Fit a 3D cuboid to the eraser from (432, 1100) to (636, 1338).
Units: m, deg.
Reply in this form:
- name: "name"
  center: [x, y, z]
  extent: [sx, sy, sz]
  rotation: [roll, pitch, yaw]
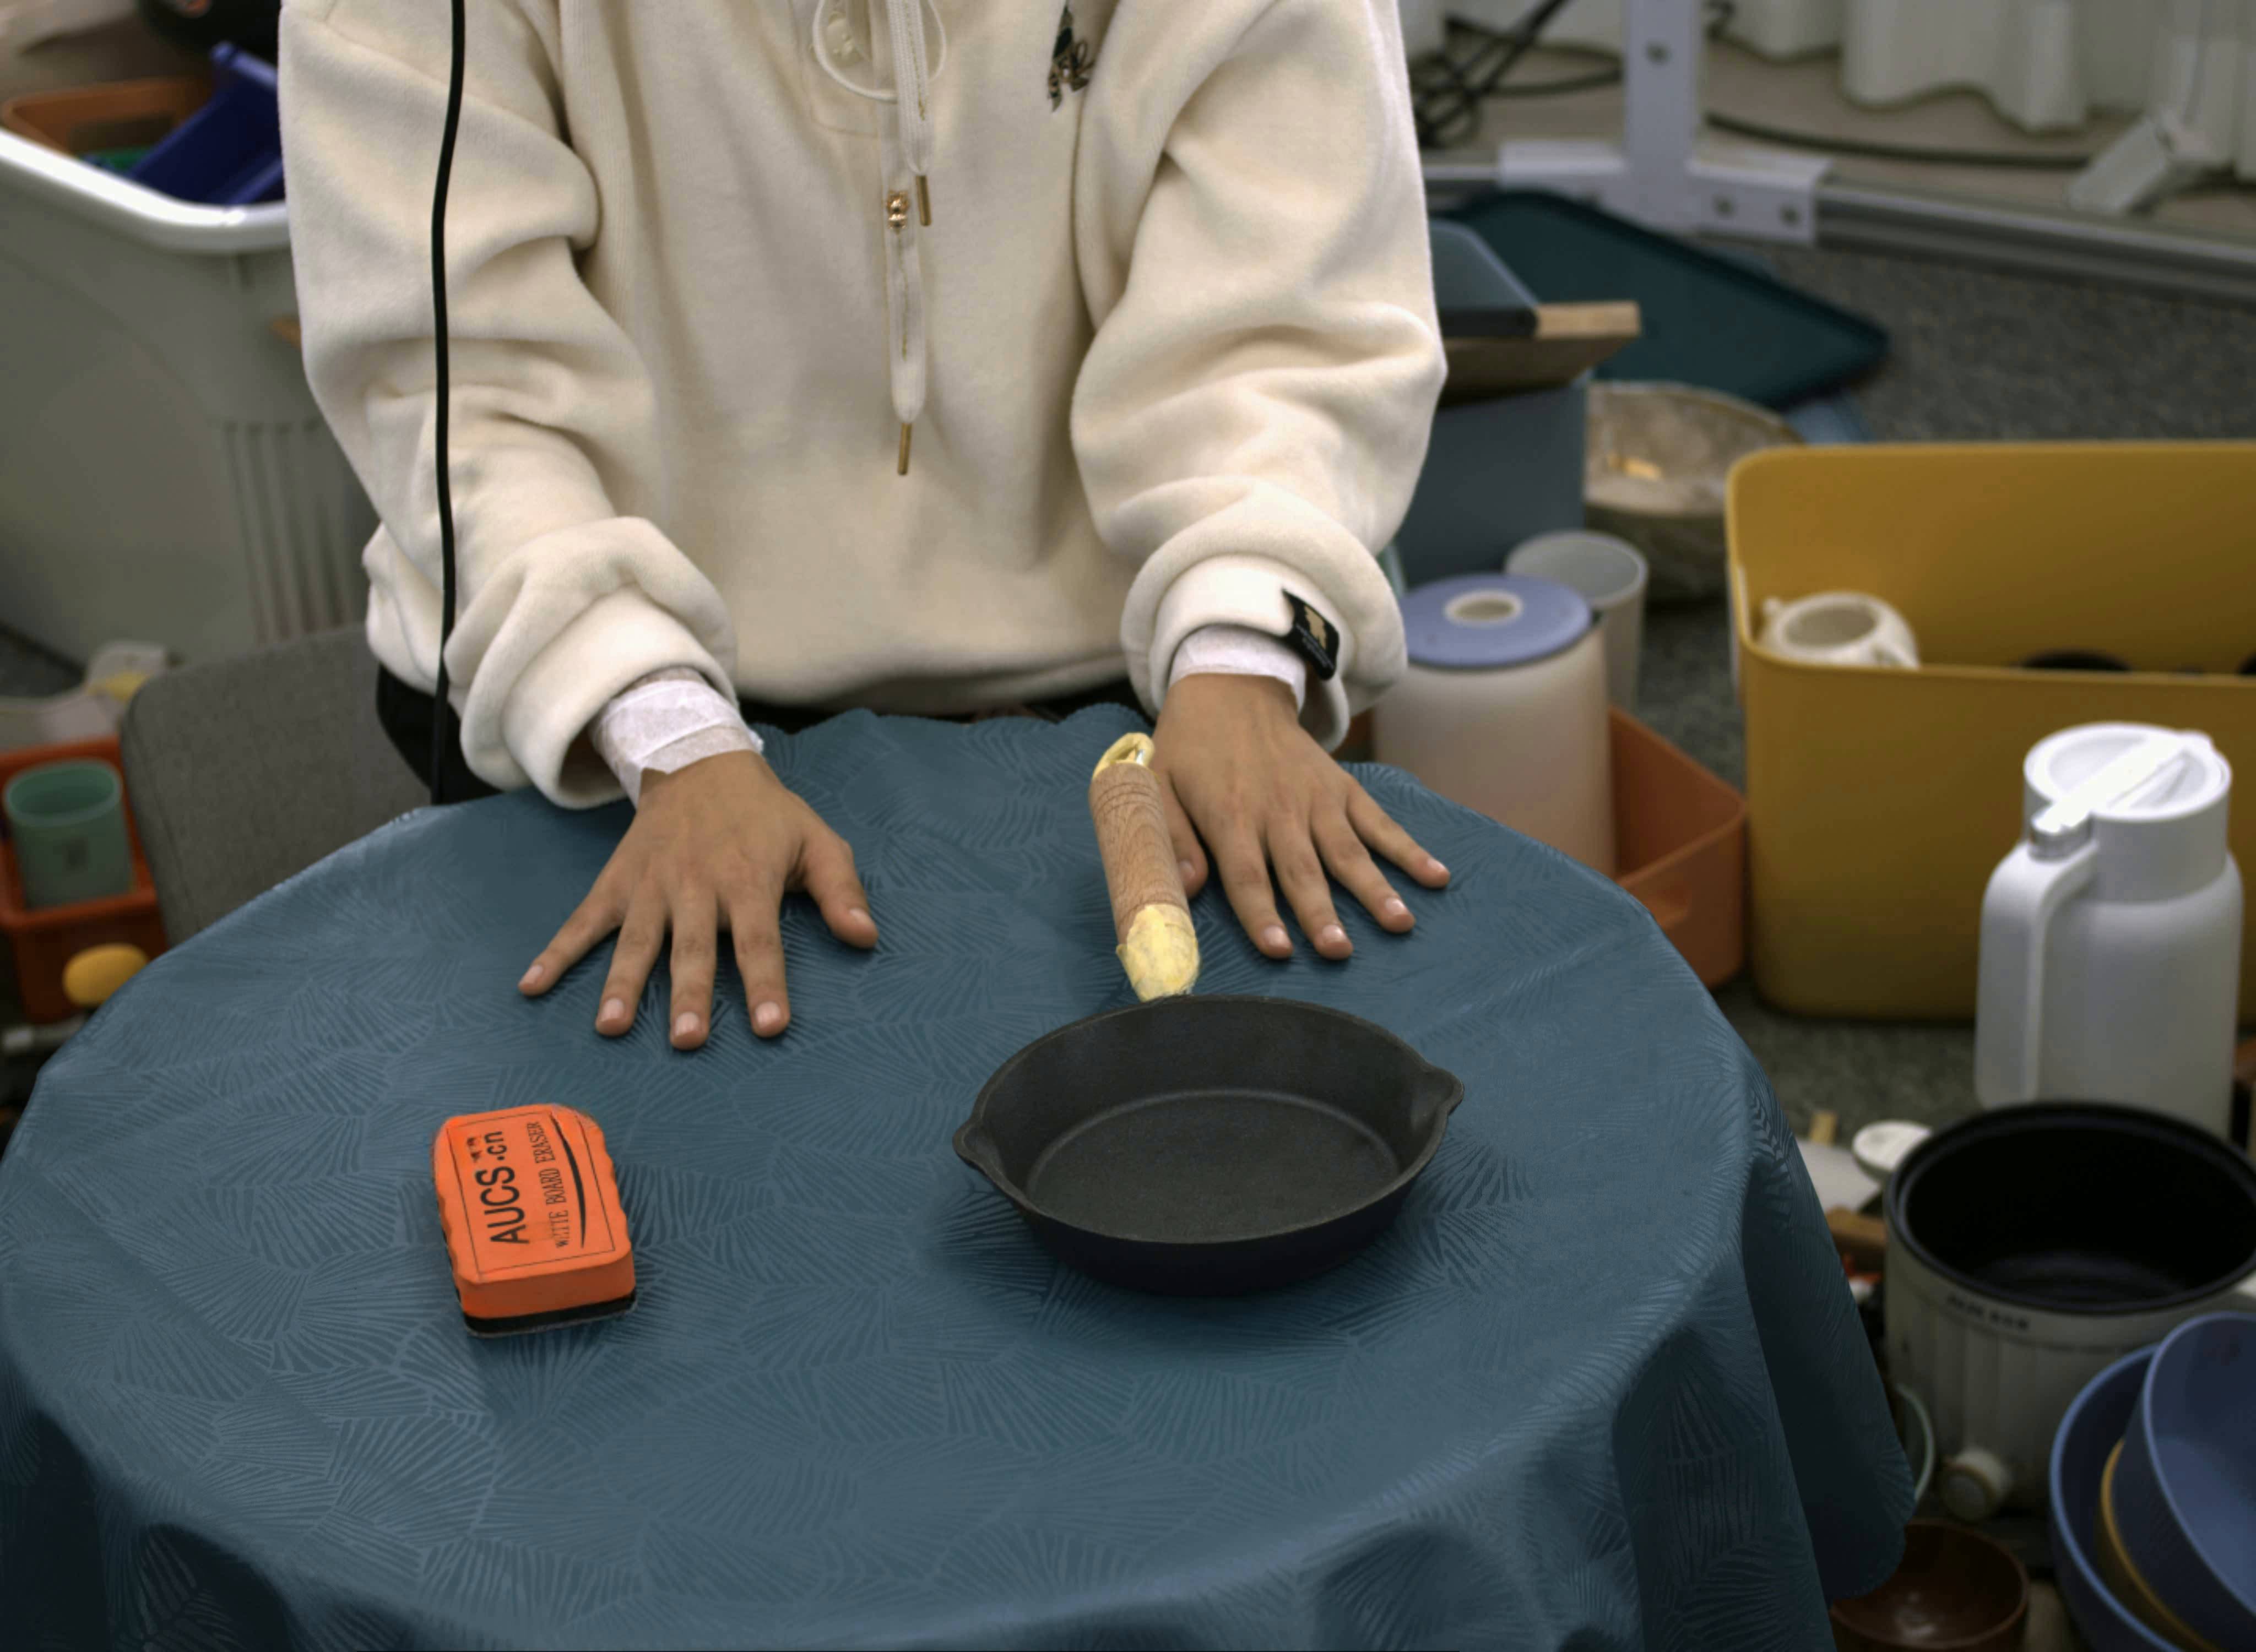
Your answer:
- name: "eraser"
  center: [-0.196, 0.128, 1.842]
  extent: [0.059, 0.022, 0.109]
  rotation: [-8, 28, -9]

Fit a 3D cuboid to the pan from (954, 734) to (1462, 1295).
- name: "pan"
  center: [0.017, 0.061, 1.921]
  extent: [0.168, 0.049, 0.329]
  rotation: [-6, 29, -4]
